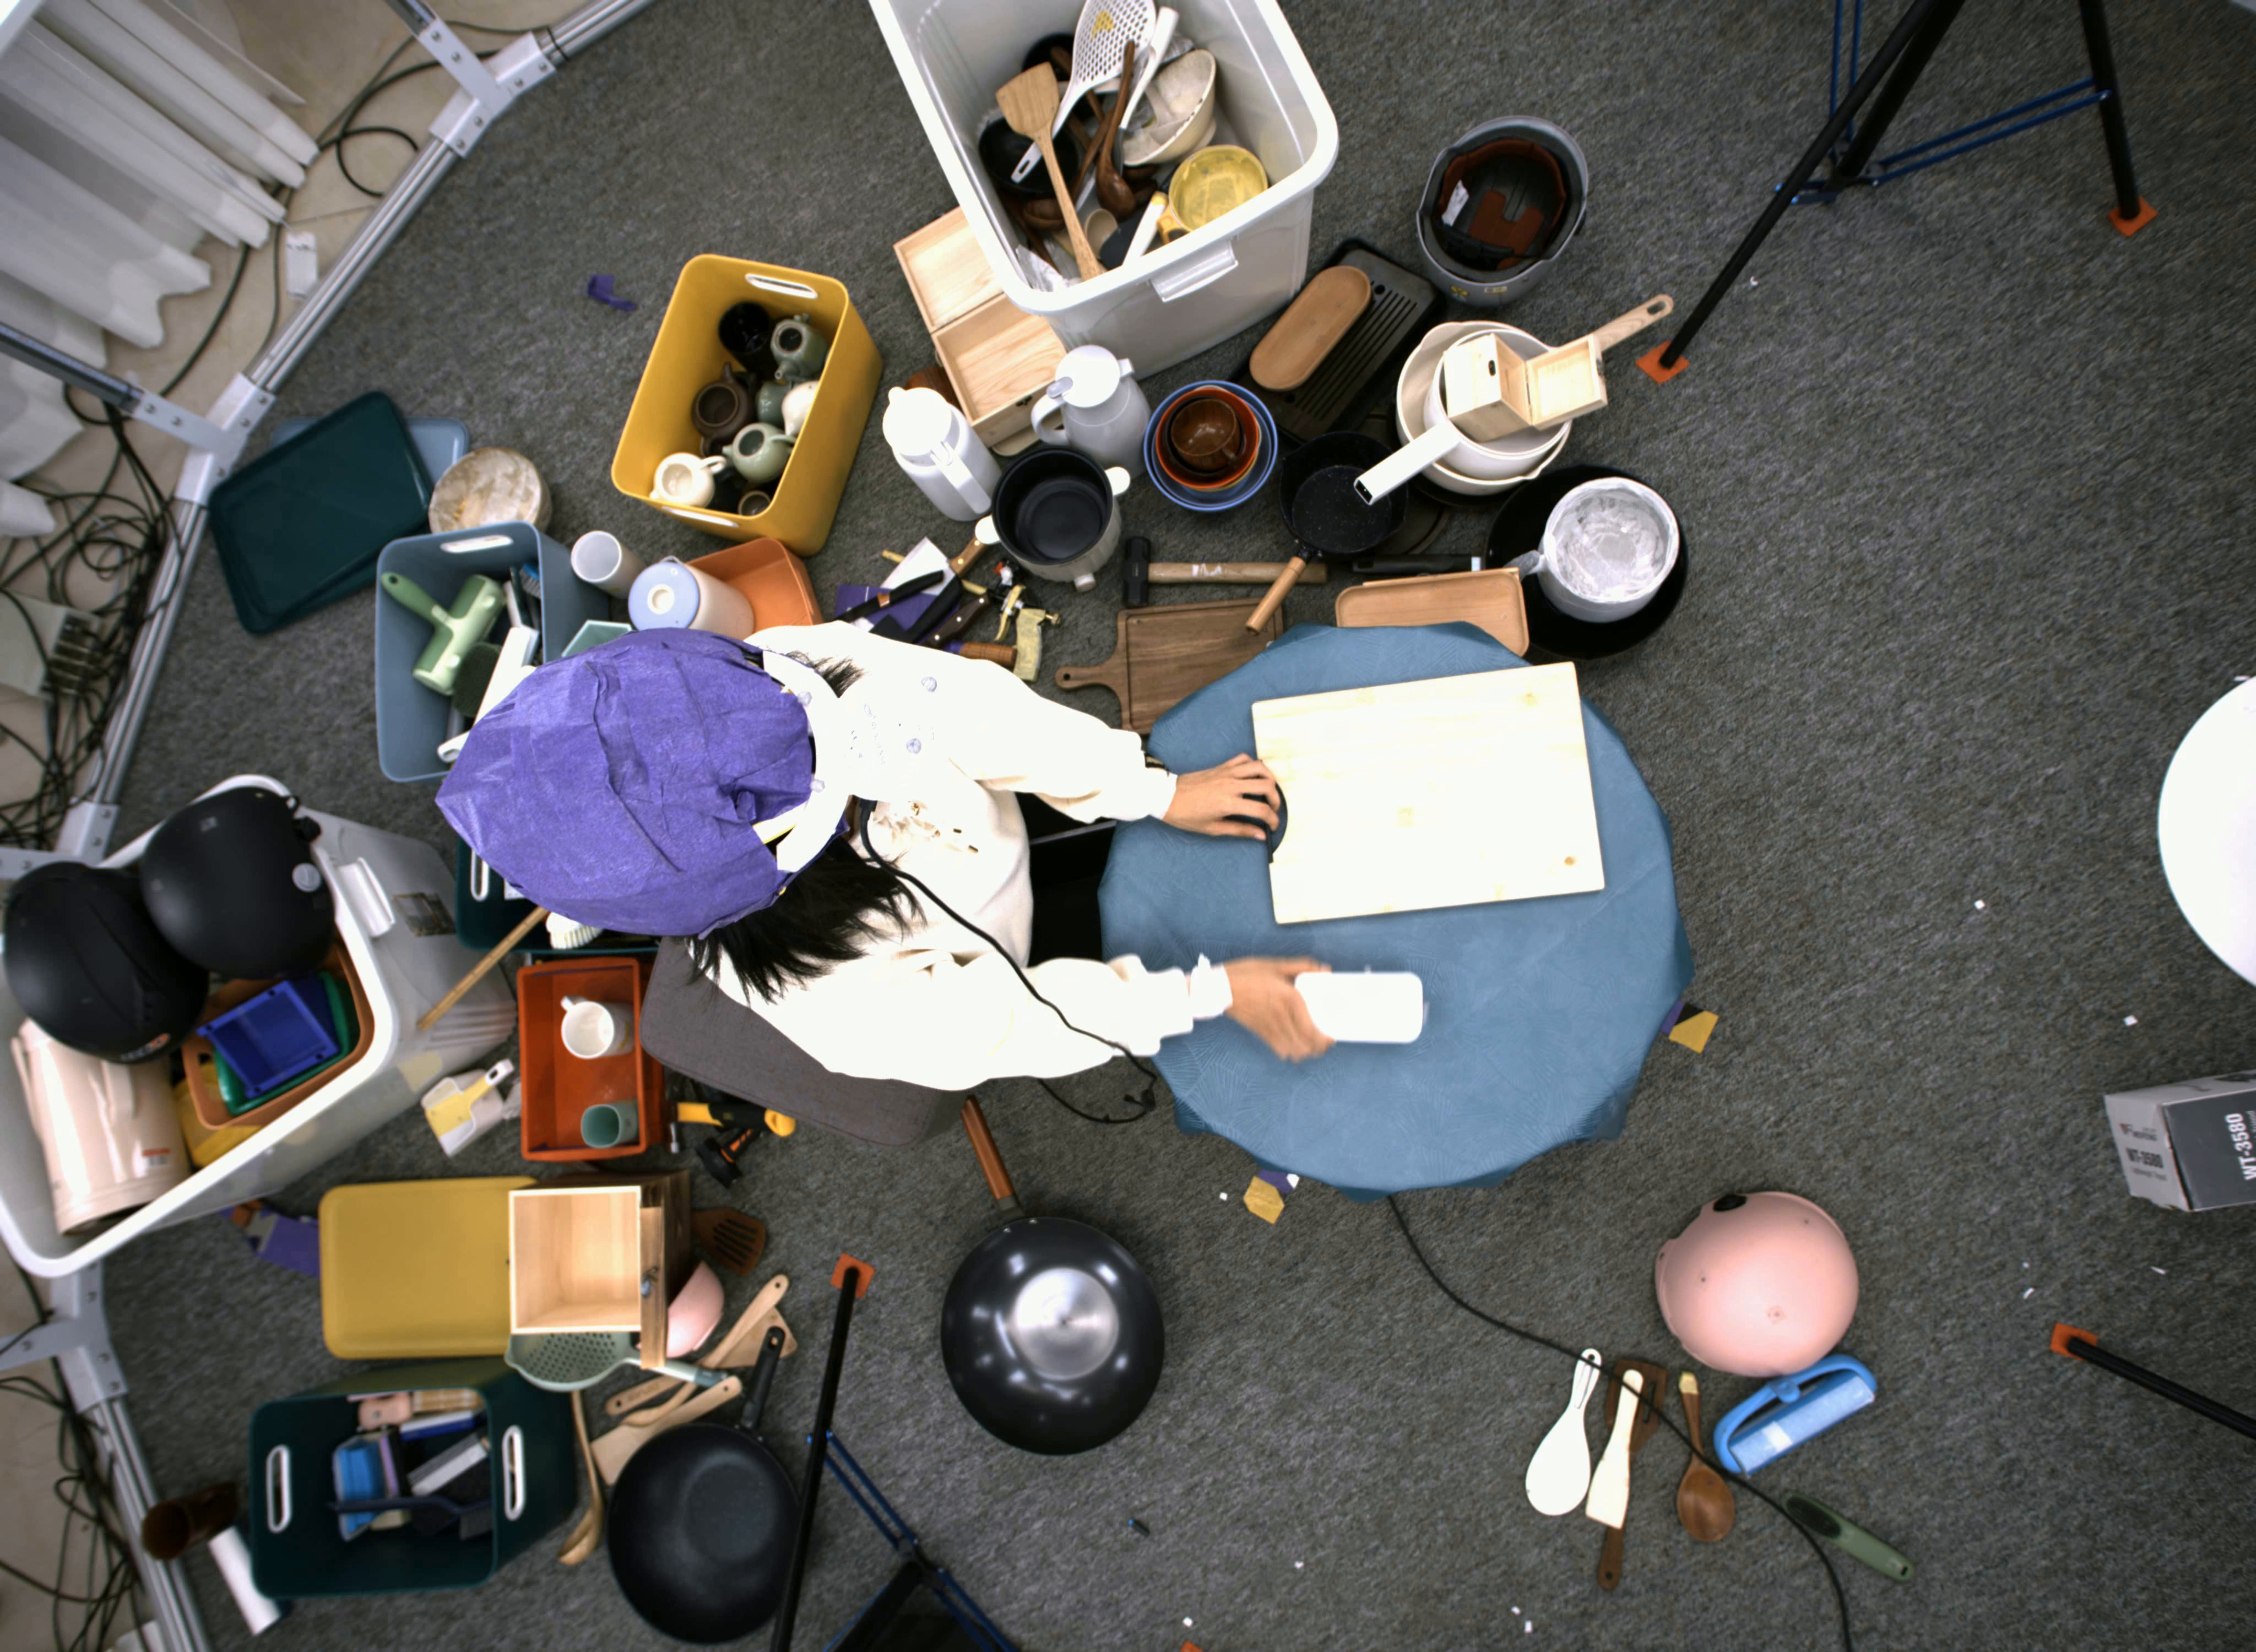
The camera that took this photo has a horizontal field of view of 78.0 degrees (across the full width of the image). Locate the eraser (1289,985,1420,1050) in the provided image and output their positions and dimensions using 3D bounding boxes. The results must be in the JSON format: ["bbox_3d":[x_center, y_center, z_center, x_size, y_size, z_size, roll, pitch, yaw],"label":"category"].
[{"bbox_3d":[0.231,0.192,1.415,0.131,0.034,0.063,3,94,8],"label":"eraser"}]

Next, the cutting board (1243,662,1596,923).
[{"bbox_3d":[0.306,-0.035,1.451,0.350,0.023,0.249,-8,86,10],"label":"cutting board"}]
